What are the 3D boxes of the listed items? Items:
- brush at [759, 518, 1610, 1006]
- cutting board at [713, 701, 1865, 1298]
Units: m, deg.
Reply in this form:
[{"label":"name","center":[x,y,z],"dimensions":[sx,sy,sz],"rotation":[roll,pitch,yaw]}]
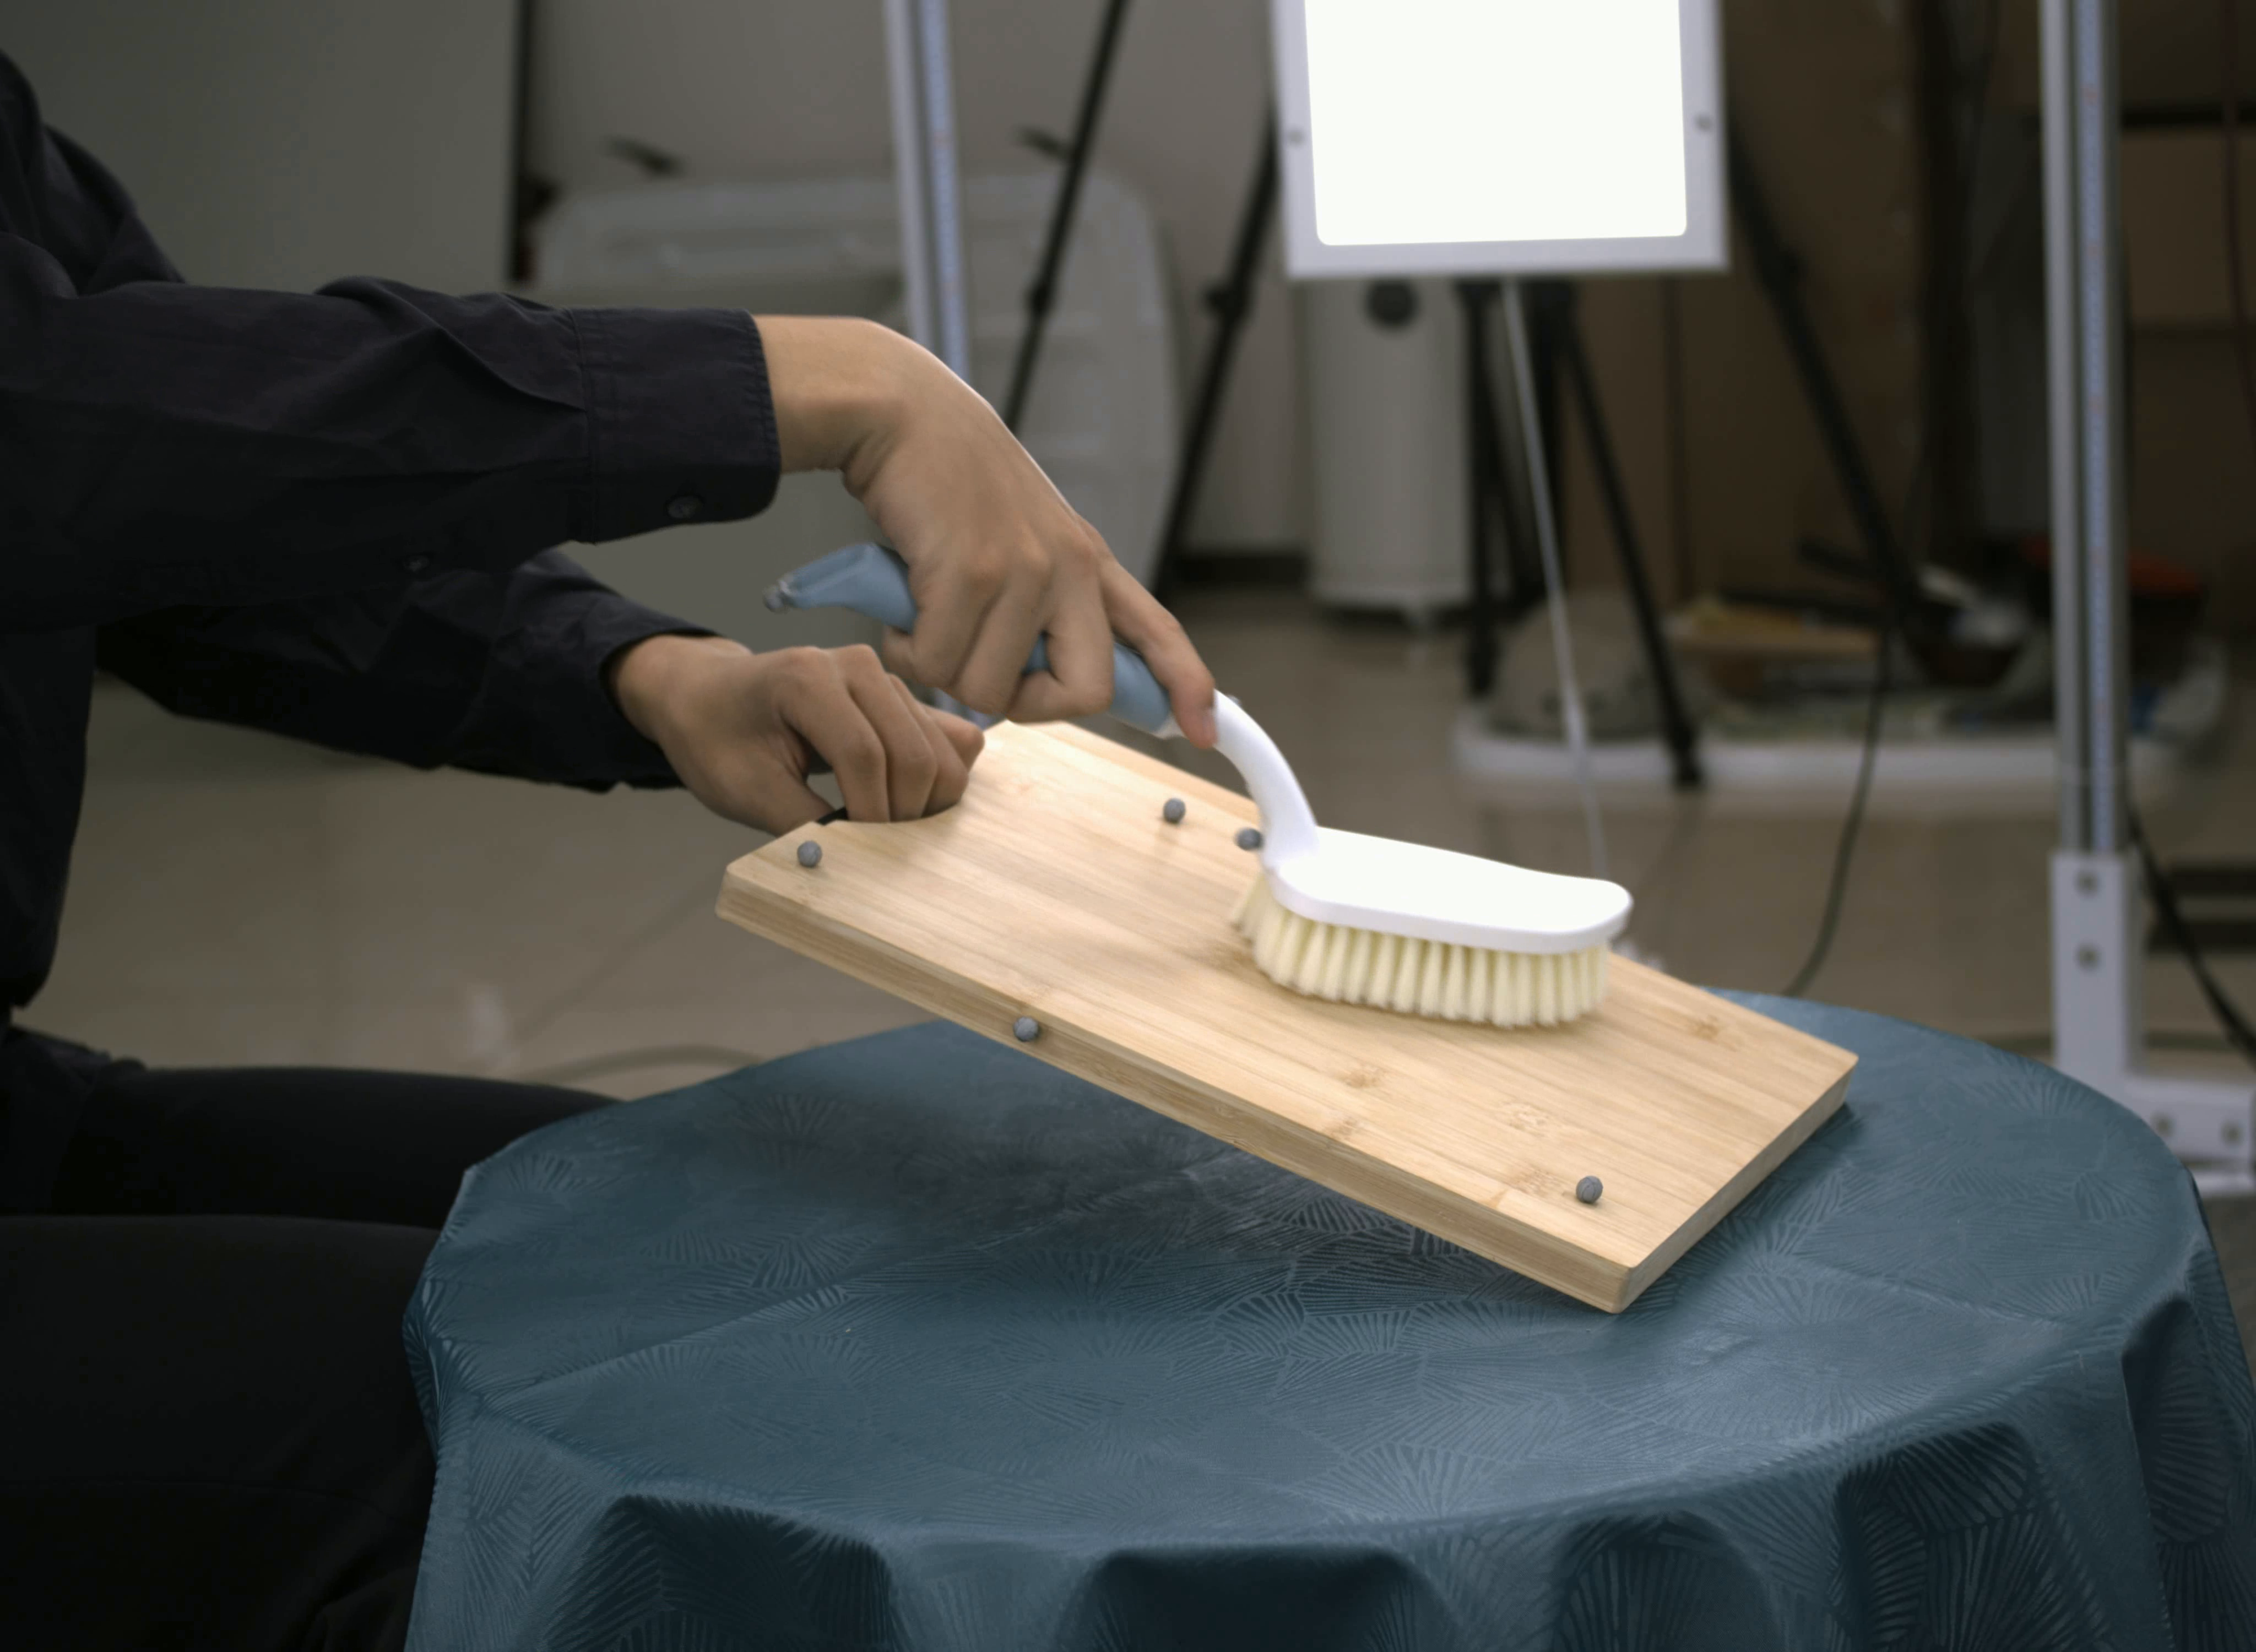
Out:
[{"label":"brush","center":[0.011,-0.006,1.867],"dimensions":[0.321,0.084,0.084],"rotation":[22,-20,-14]},{"label":"cutting board","center":[0.060,0.053,1.893],"dimensions":[0.352,0.024,0.246],"rotation":[22,22,19]}]
